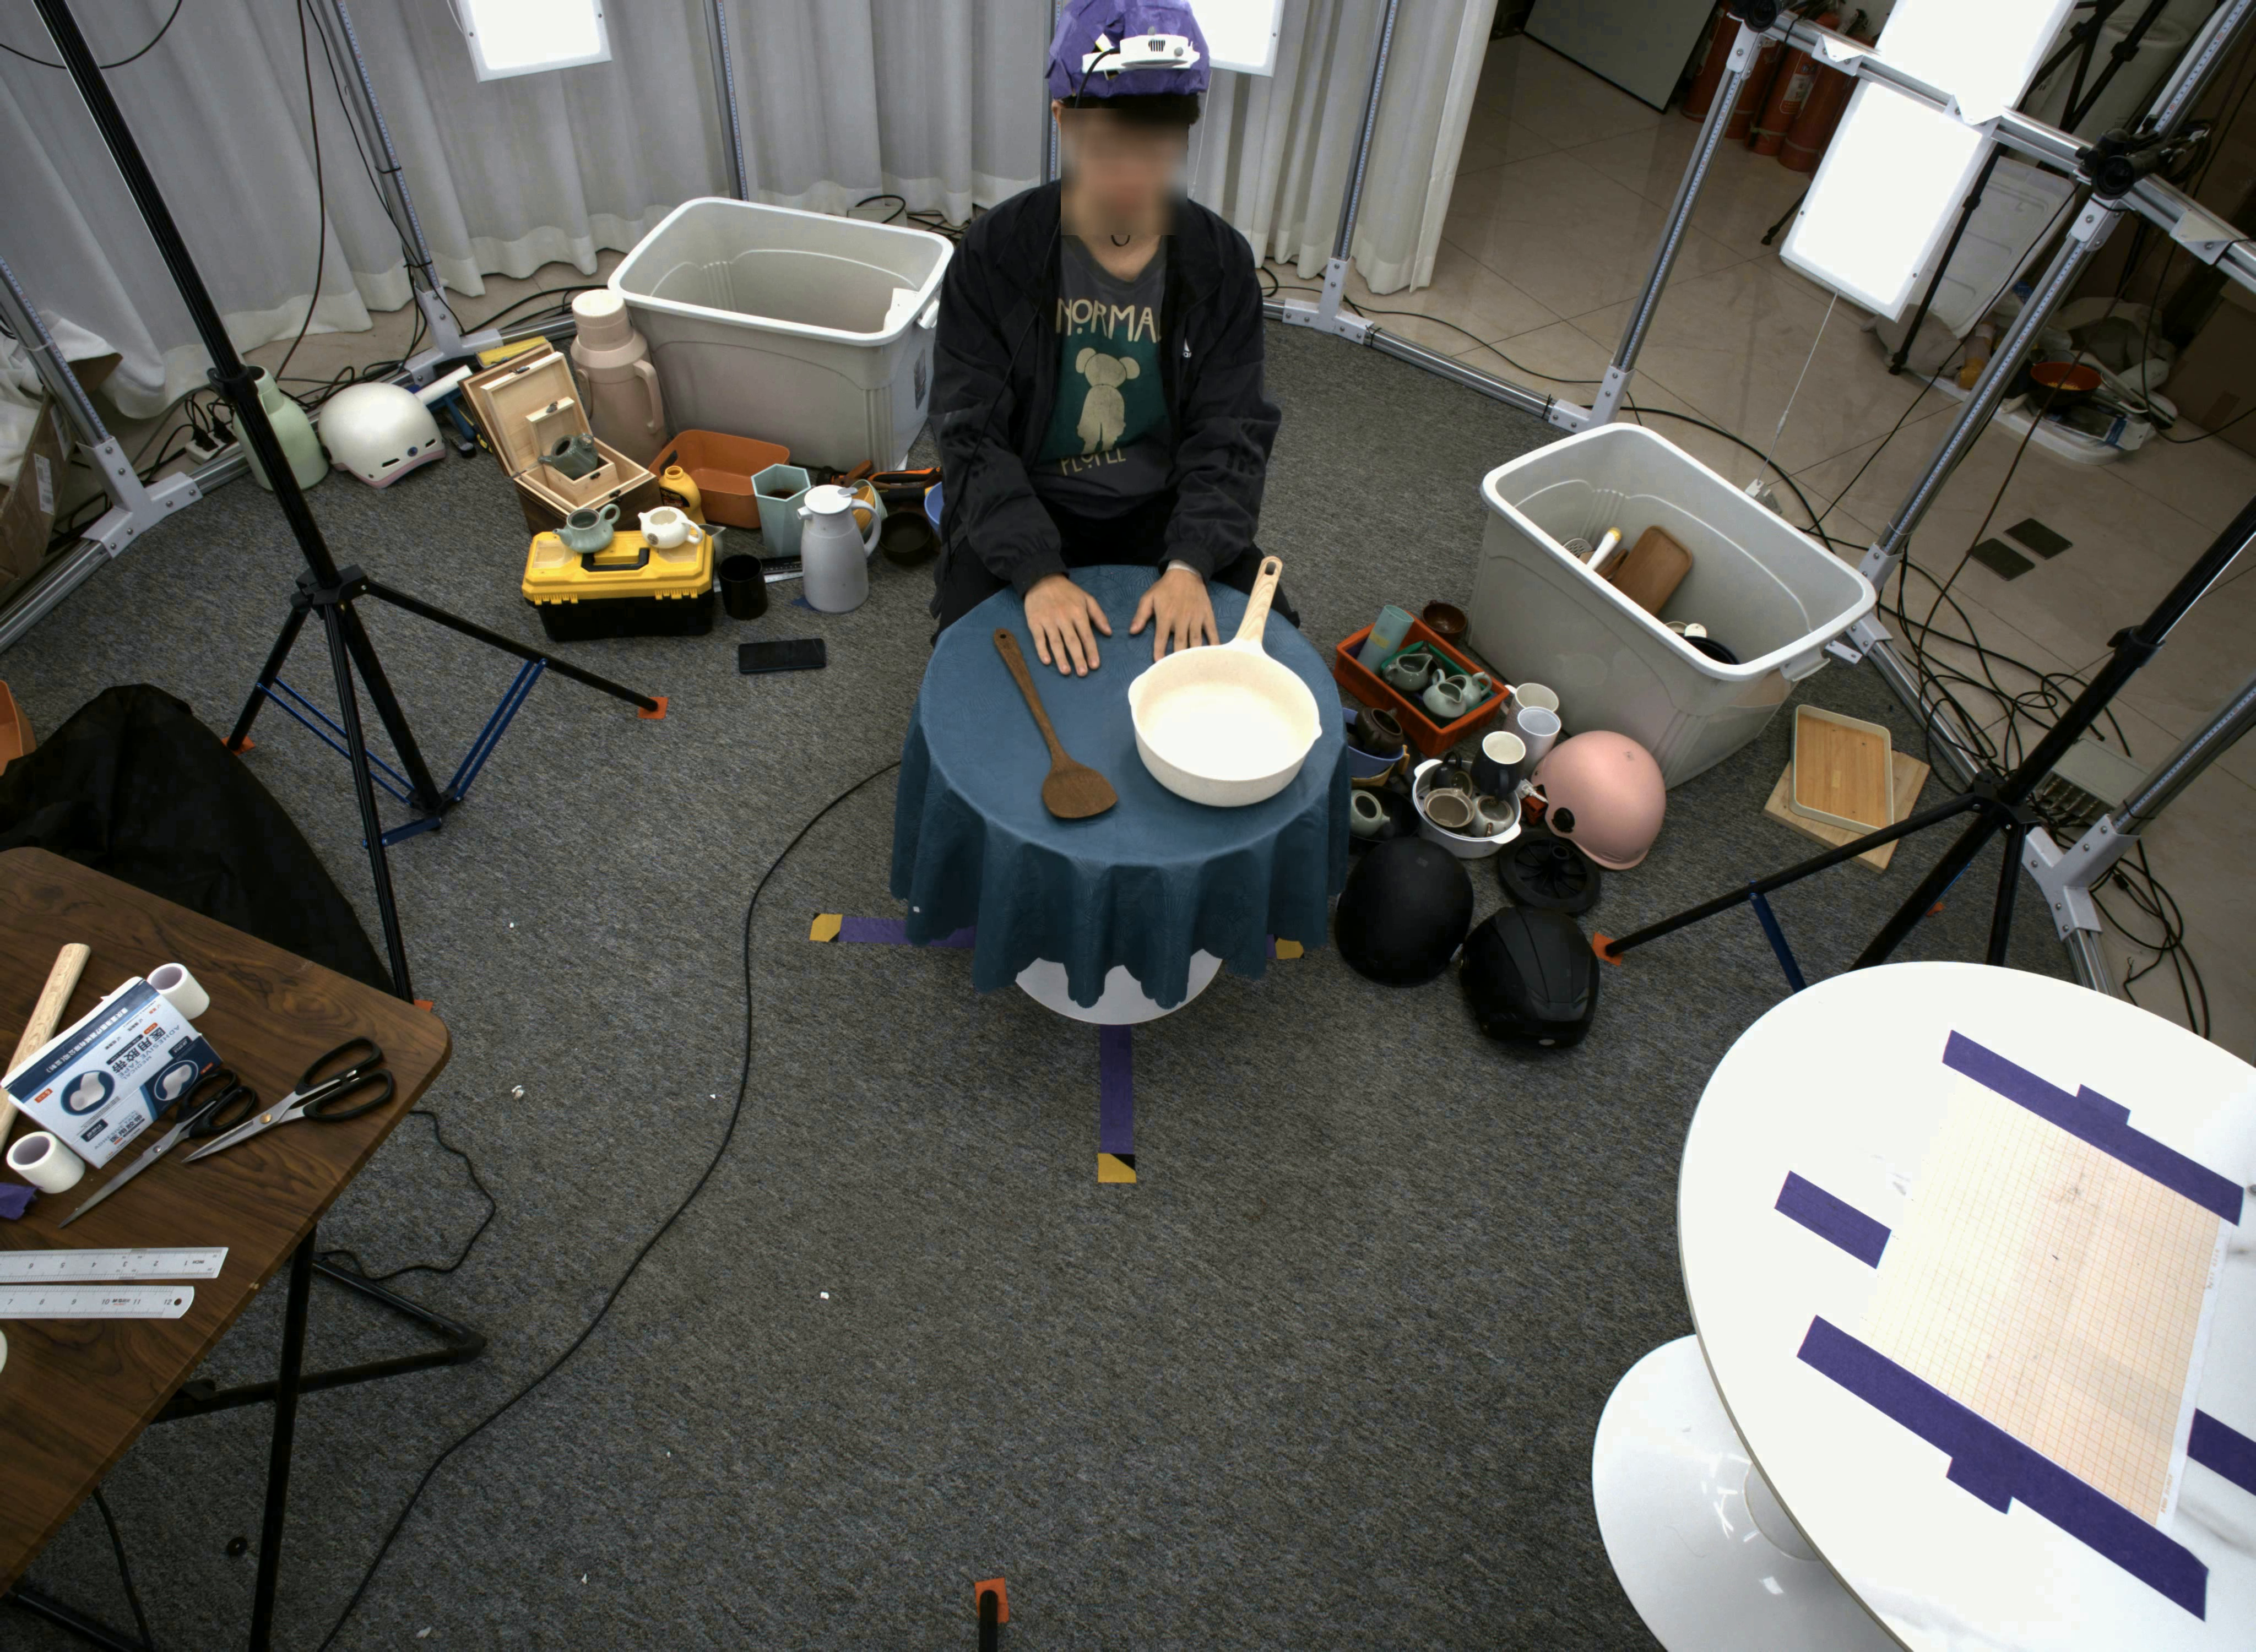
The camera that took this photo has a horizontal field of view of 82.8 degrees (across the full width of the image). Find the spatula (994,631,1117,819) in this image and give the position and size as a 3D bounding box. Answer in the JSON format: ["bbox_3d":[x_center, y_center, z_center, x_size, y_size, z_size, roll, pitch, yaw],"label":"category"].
[{"bbox_3d":[-0.121,-0.151,1.781,0.096,0.015,0.395,-14,50,-16],"label":"spatula"}]

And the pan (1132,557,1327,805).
[{"bbox_3d":[0.158,-0.203,1.786,0.264,0.099,0.444,12,49,9],"label":"pan"}]
